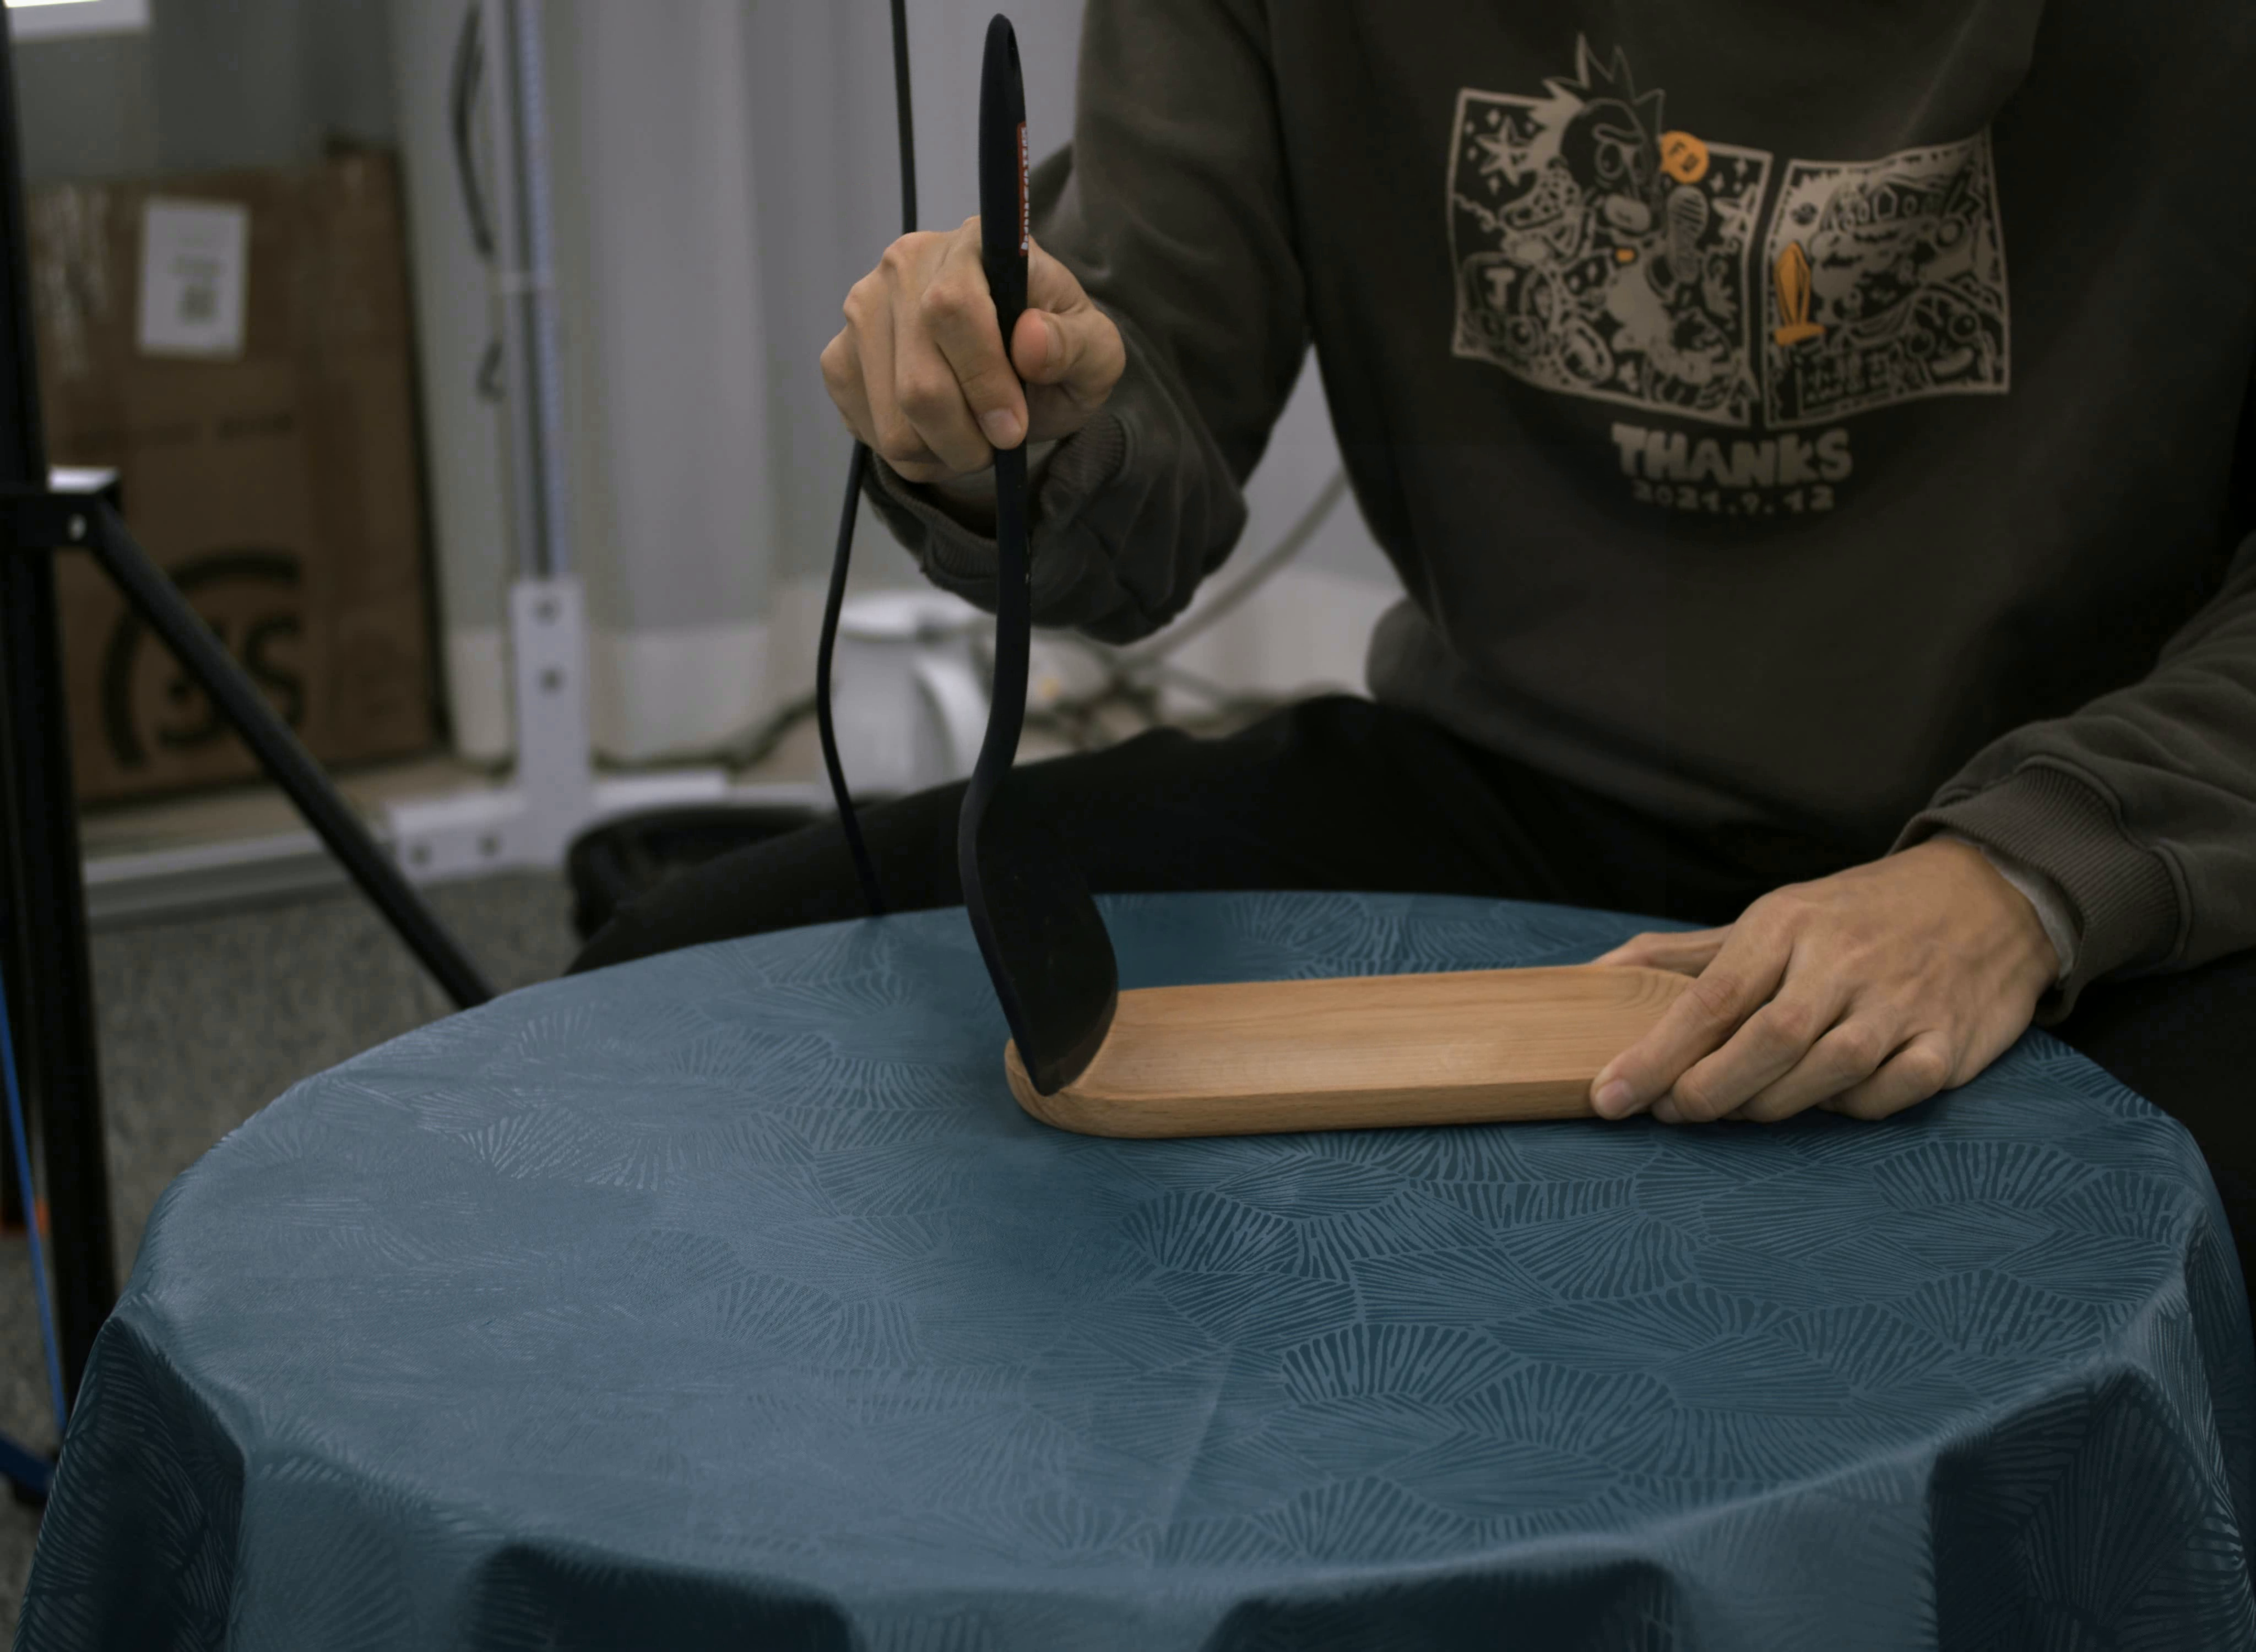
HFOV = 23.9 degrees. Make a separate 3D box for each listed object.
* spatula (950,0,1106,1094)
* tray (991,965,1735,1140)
[{"bbox_3d":[-0.030,-0.083,1.610,0.040,0.326,0.099,5,16,12],"label":"spatula"},{"bbox_3d":[0.073,0.071,1.646,0.230,0.020,0.102,-4,17,3],"label":"tray"}]
